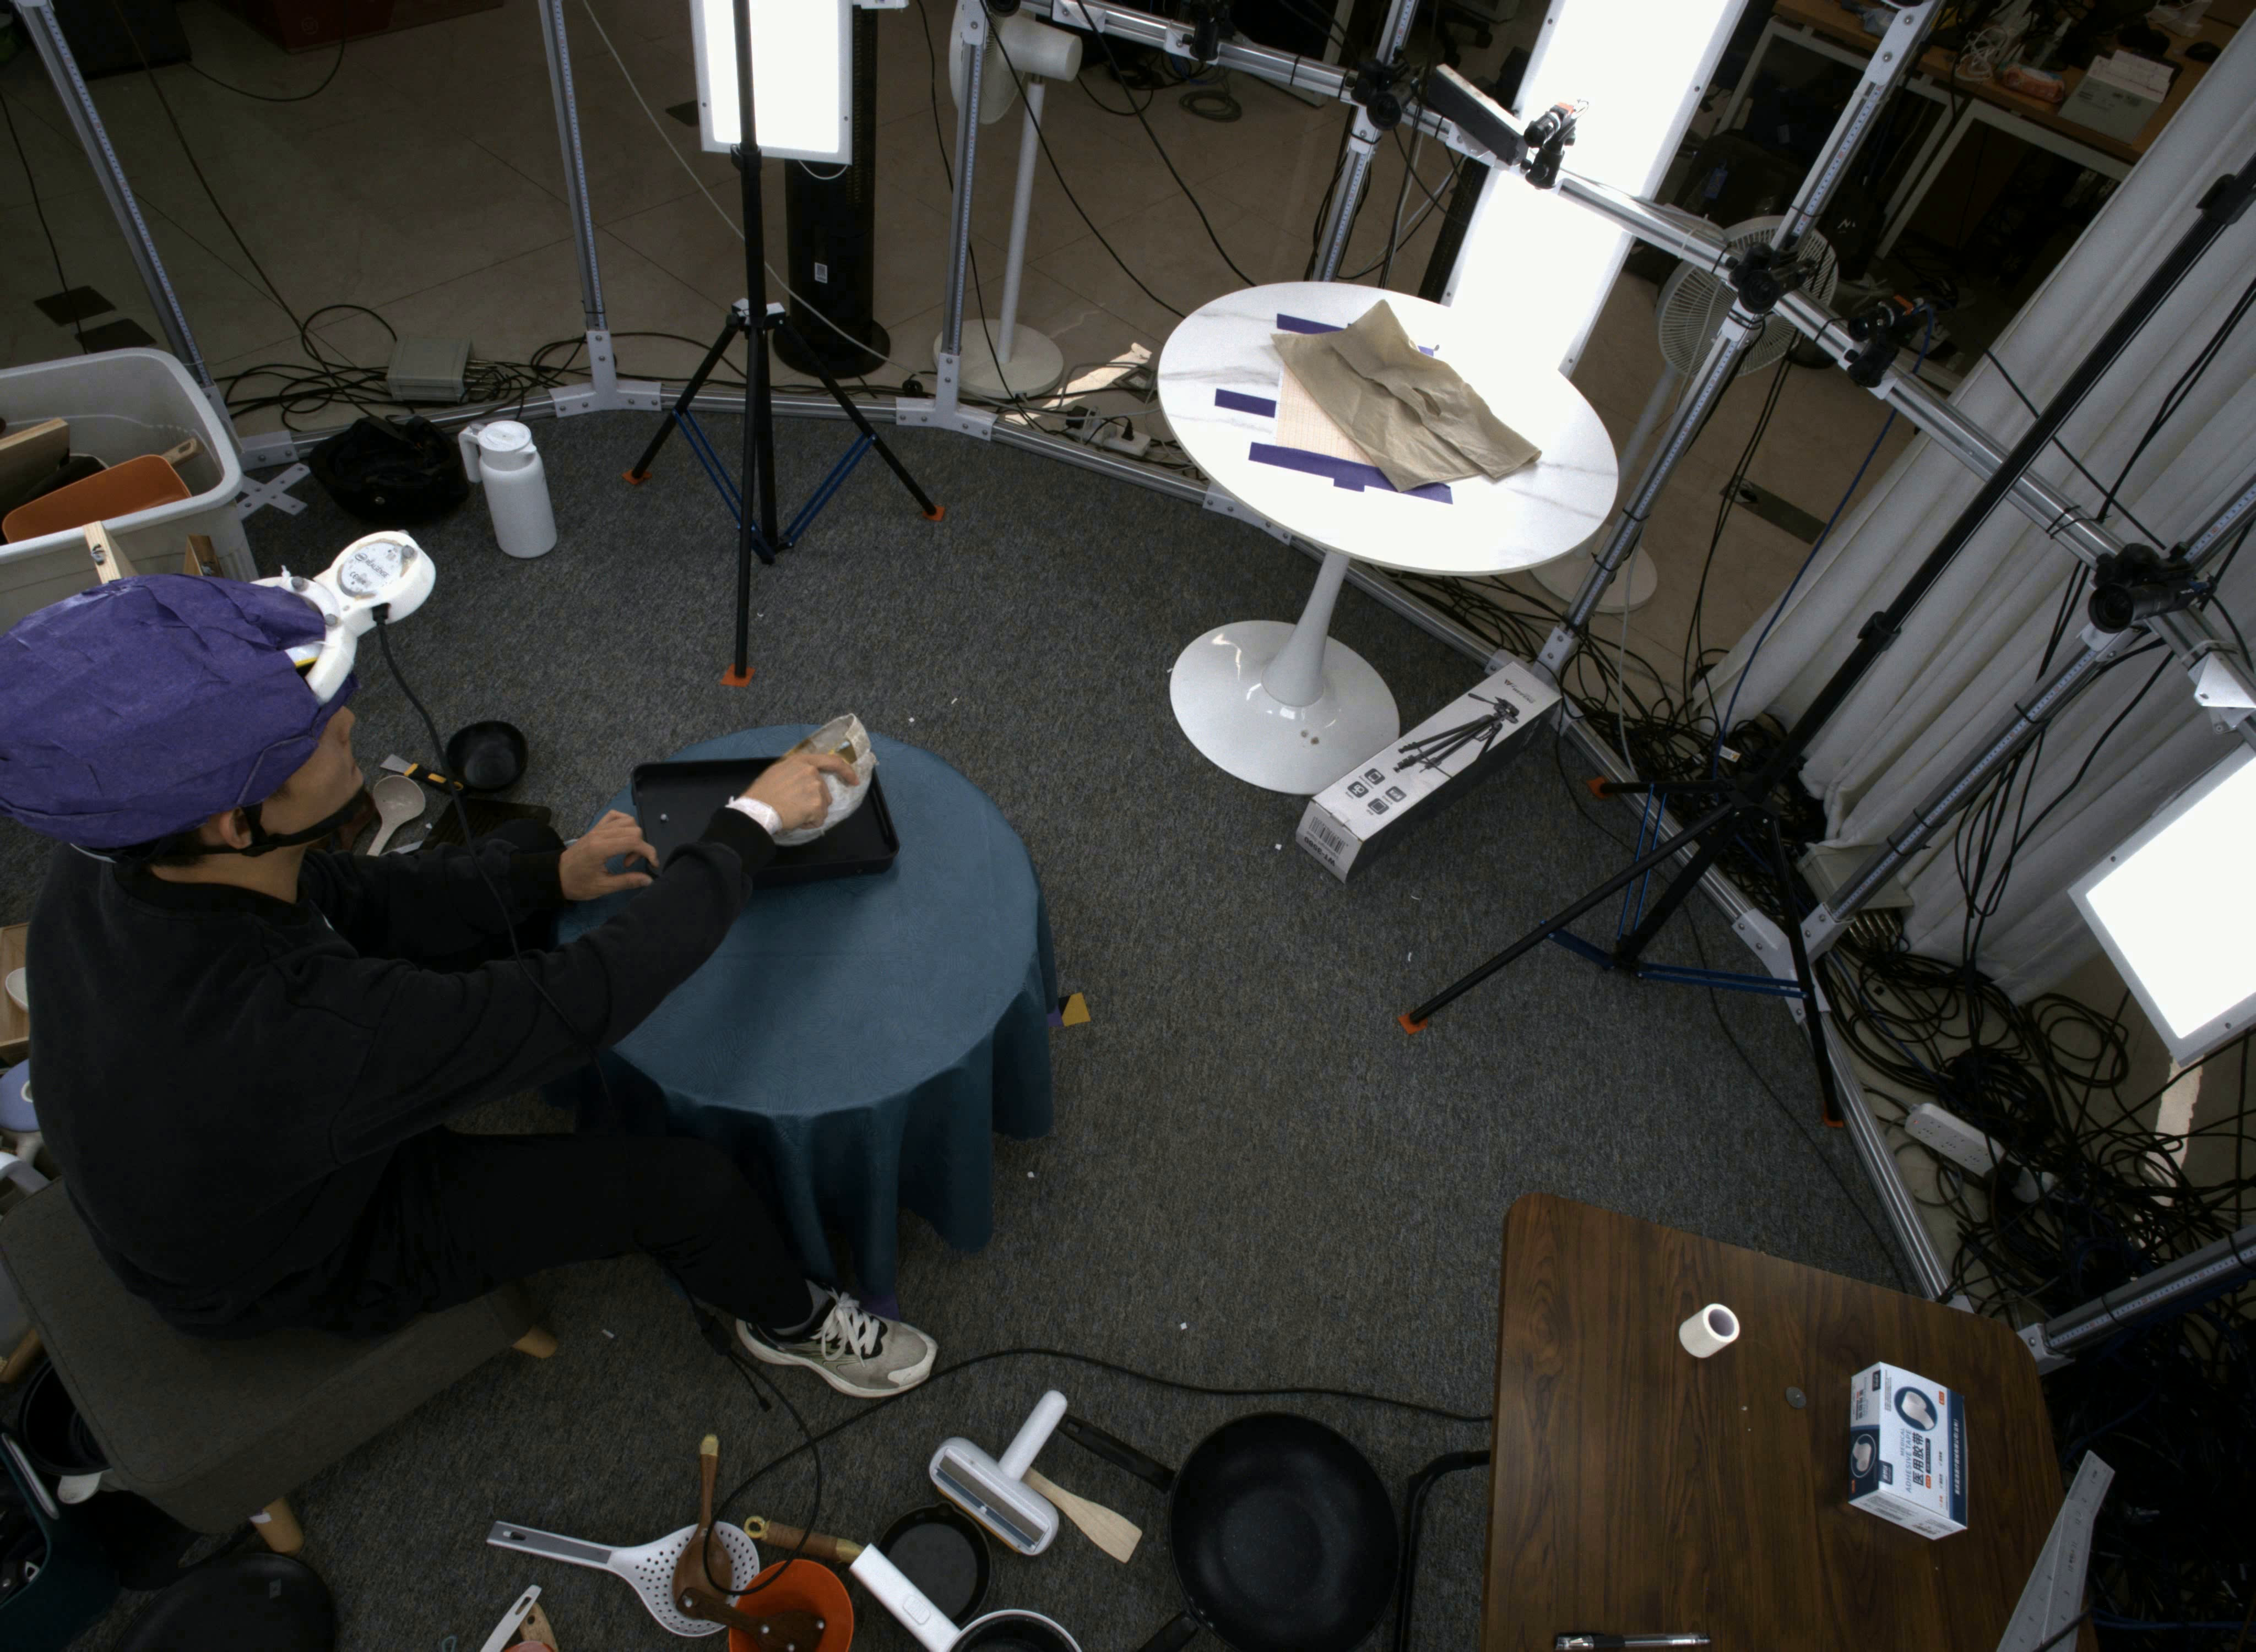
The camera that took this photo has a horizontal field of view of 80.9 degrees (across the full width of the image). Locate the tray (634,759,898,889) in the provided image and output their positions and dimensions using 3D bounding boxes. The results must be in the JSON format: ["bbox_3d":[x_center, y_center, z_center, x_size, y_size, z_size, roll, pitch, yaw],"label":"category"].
[{"bbox_3d":[-0.468,-0.009,1.670,0.322,0.037,0.179,-2,53,-30],"label":"tray"}]

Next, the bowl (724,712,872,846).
[{"bbox_3d":[-0.397,-0.041,1.627,0.097,0.209,0.213,52,48,-21],"label":"bowl"}]
